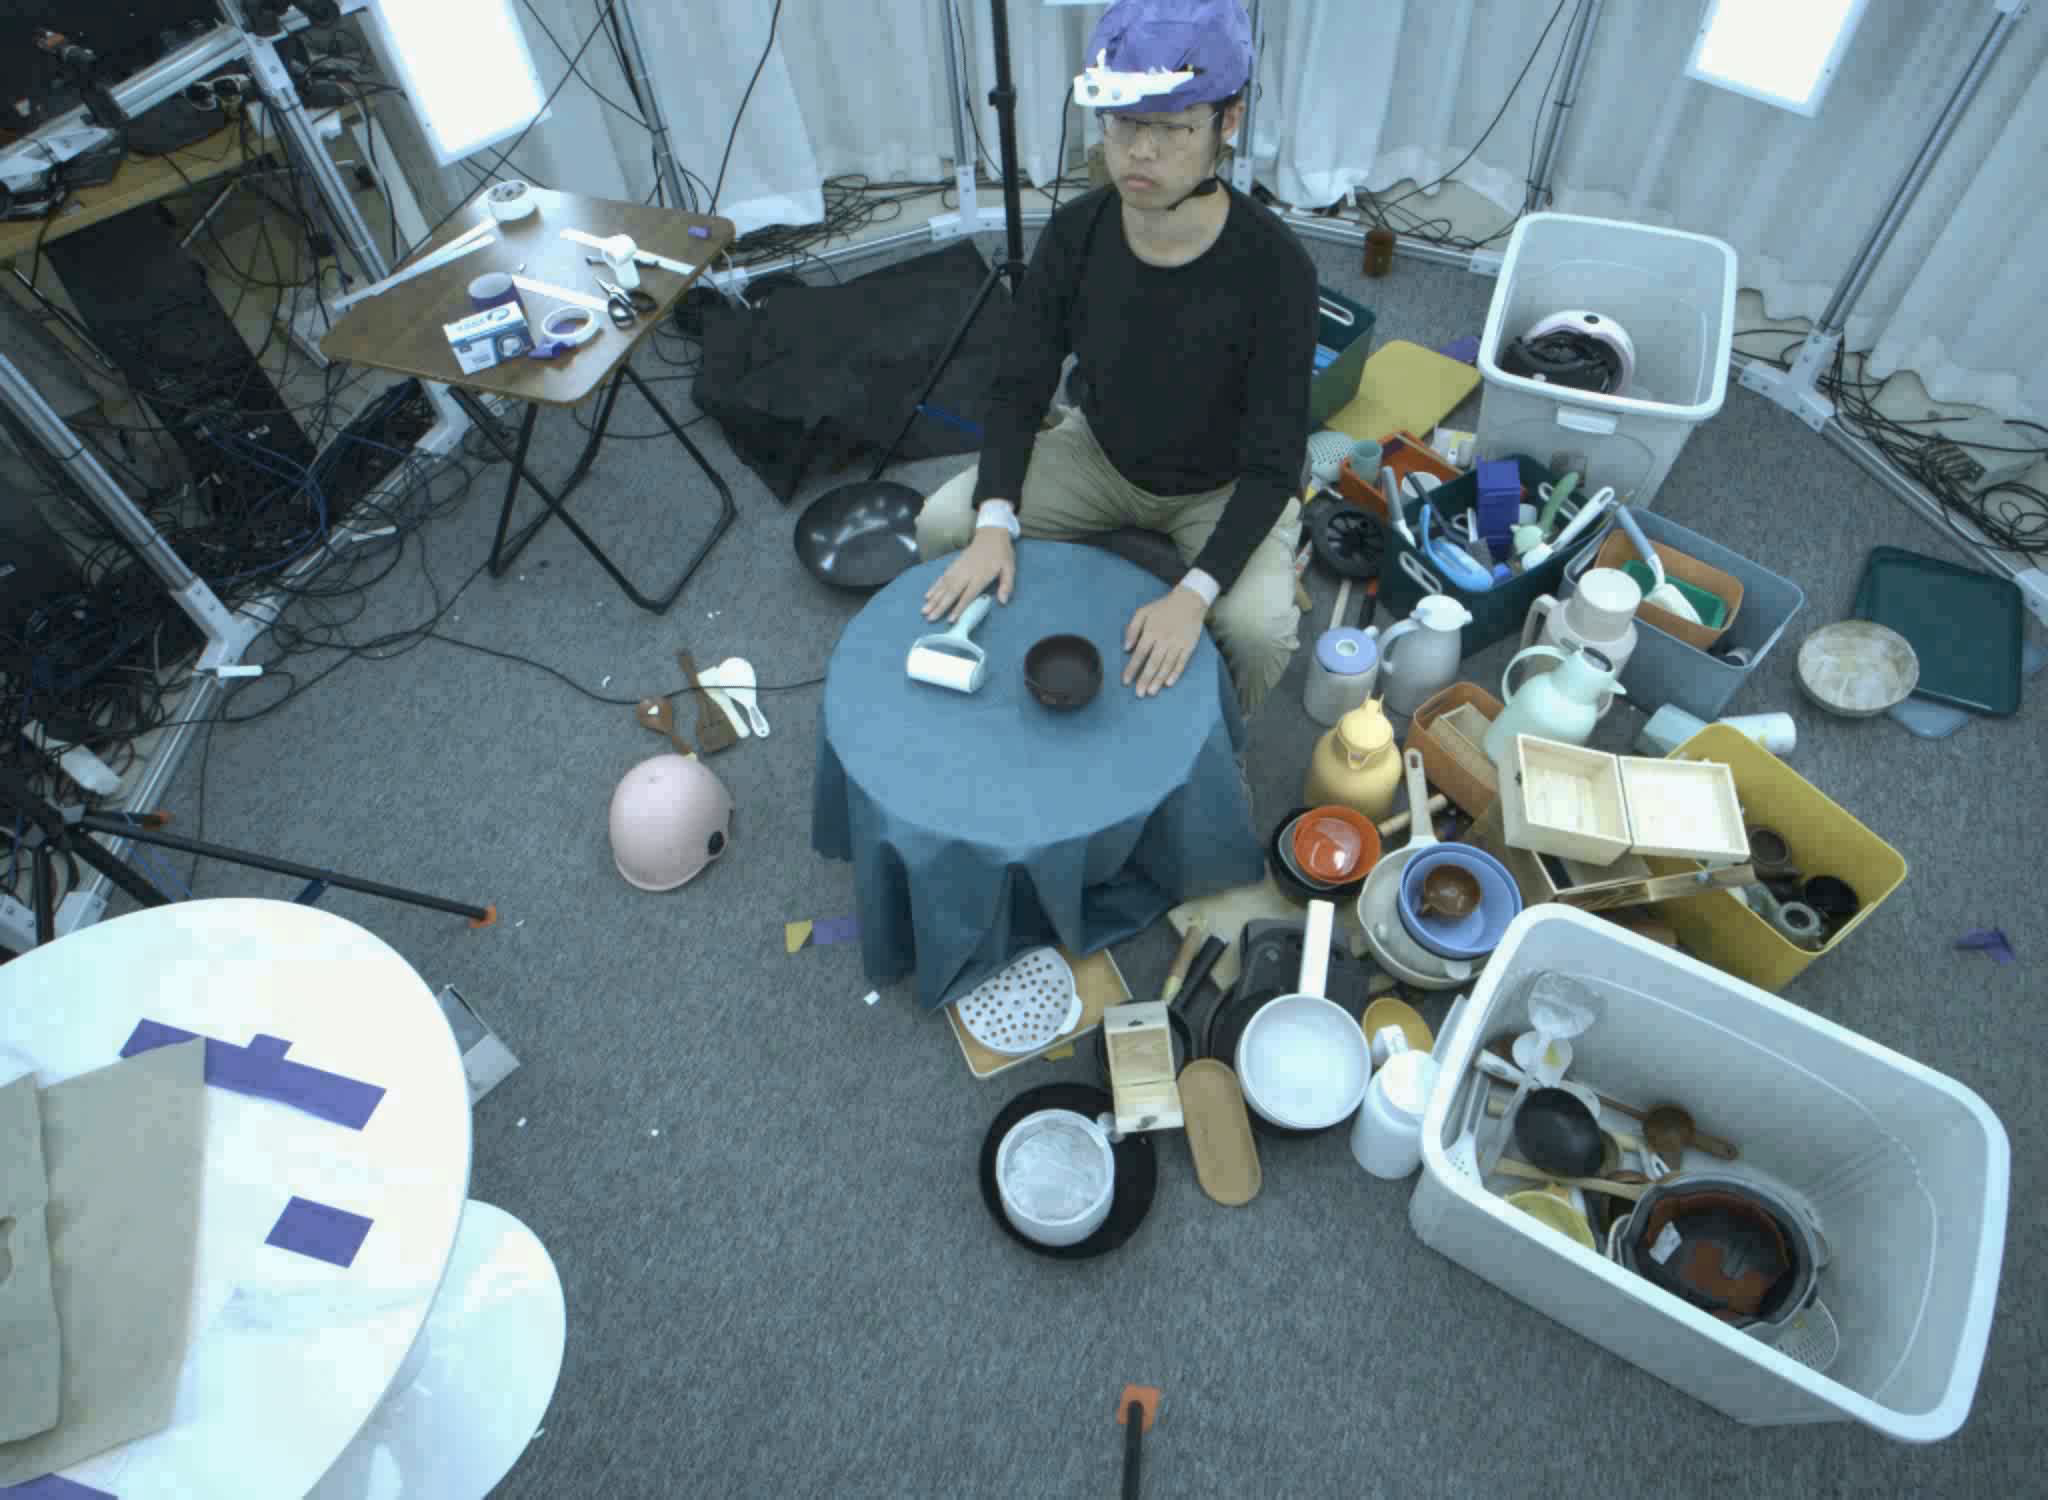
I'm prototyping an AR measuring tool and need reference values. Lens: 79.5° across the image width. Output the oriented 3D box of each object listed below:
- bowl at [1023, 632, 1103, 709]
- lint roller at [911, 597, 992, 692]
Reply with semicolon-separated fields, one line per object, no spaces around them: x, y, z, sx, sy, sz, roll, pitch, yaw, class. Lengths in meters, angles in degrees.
0.059;-0.109;1.819;0.118;0.070;0.117;-1;53;3;bowl
-0.088;-0.175;1.887;0.115;0.049;0.197;15;55;13;lint roller
